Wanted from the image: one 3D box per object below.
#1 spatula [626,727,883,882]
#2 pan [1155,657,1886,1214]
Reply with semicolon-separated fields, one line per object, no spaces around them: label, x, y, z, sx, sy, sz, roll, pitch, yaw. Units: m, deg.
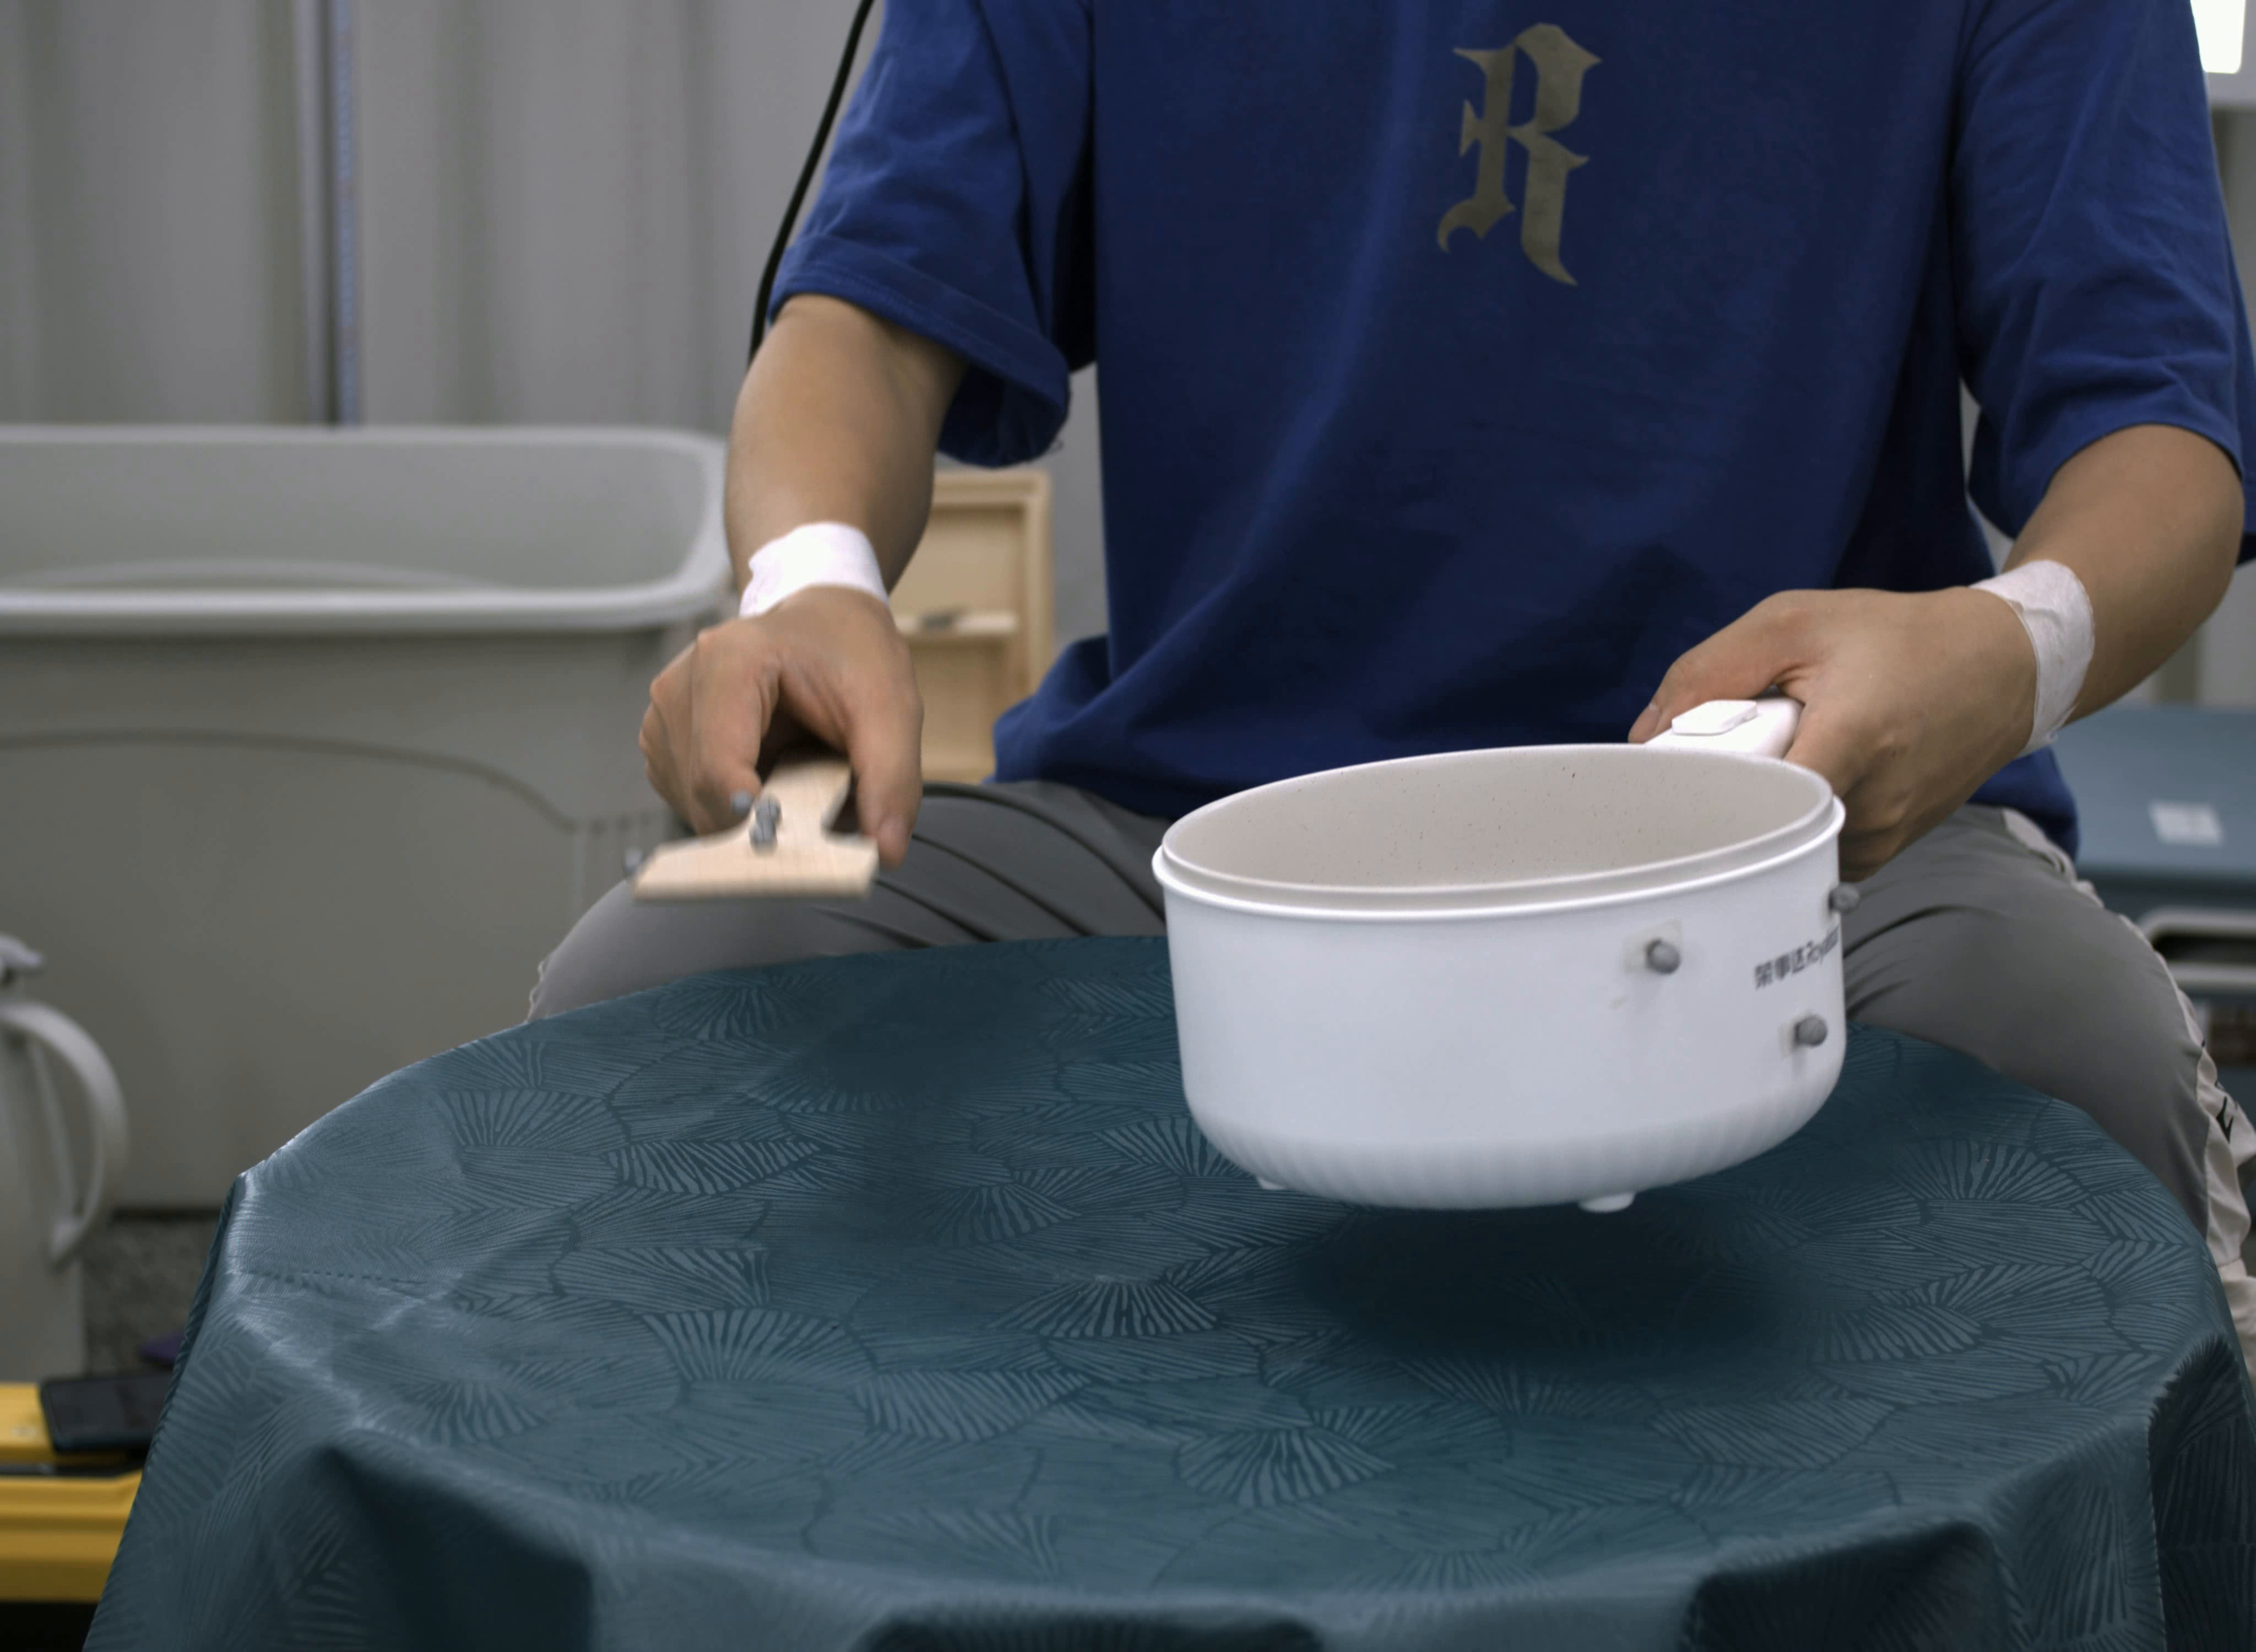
spatula;-0.107;-0.007;1.667;0.072;0.011;0.292;-2;9;2
pan;0.149;0.029;1.598;0.199;0.103;0.356;-1;12;29
